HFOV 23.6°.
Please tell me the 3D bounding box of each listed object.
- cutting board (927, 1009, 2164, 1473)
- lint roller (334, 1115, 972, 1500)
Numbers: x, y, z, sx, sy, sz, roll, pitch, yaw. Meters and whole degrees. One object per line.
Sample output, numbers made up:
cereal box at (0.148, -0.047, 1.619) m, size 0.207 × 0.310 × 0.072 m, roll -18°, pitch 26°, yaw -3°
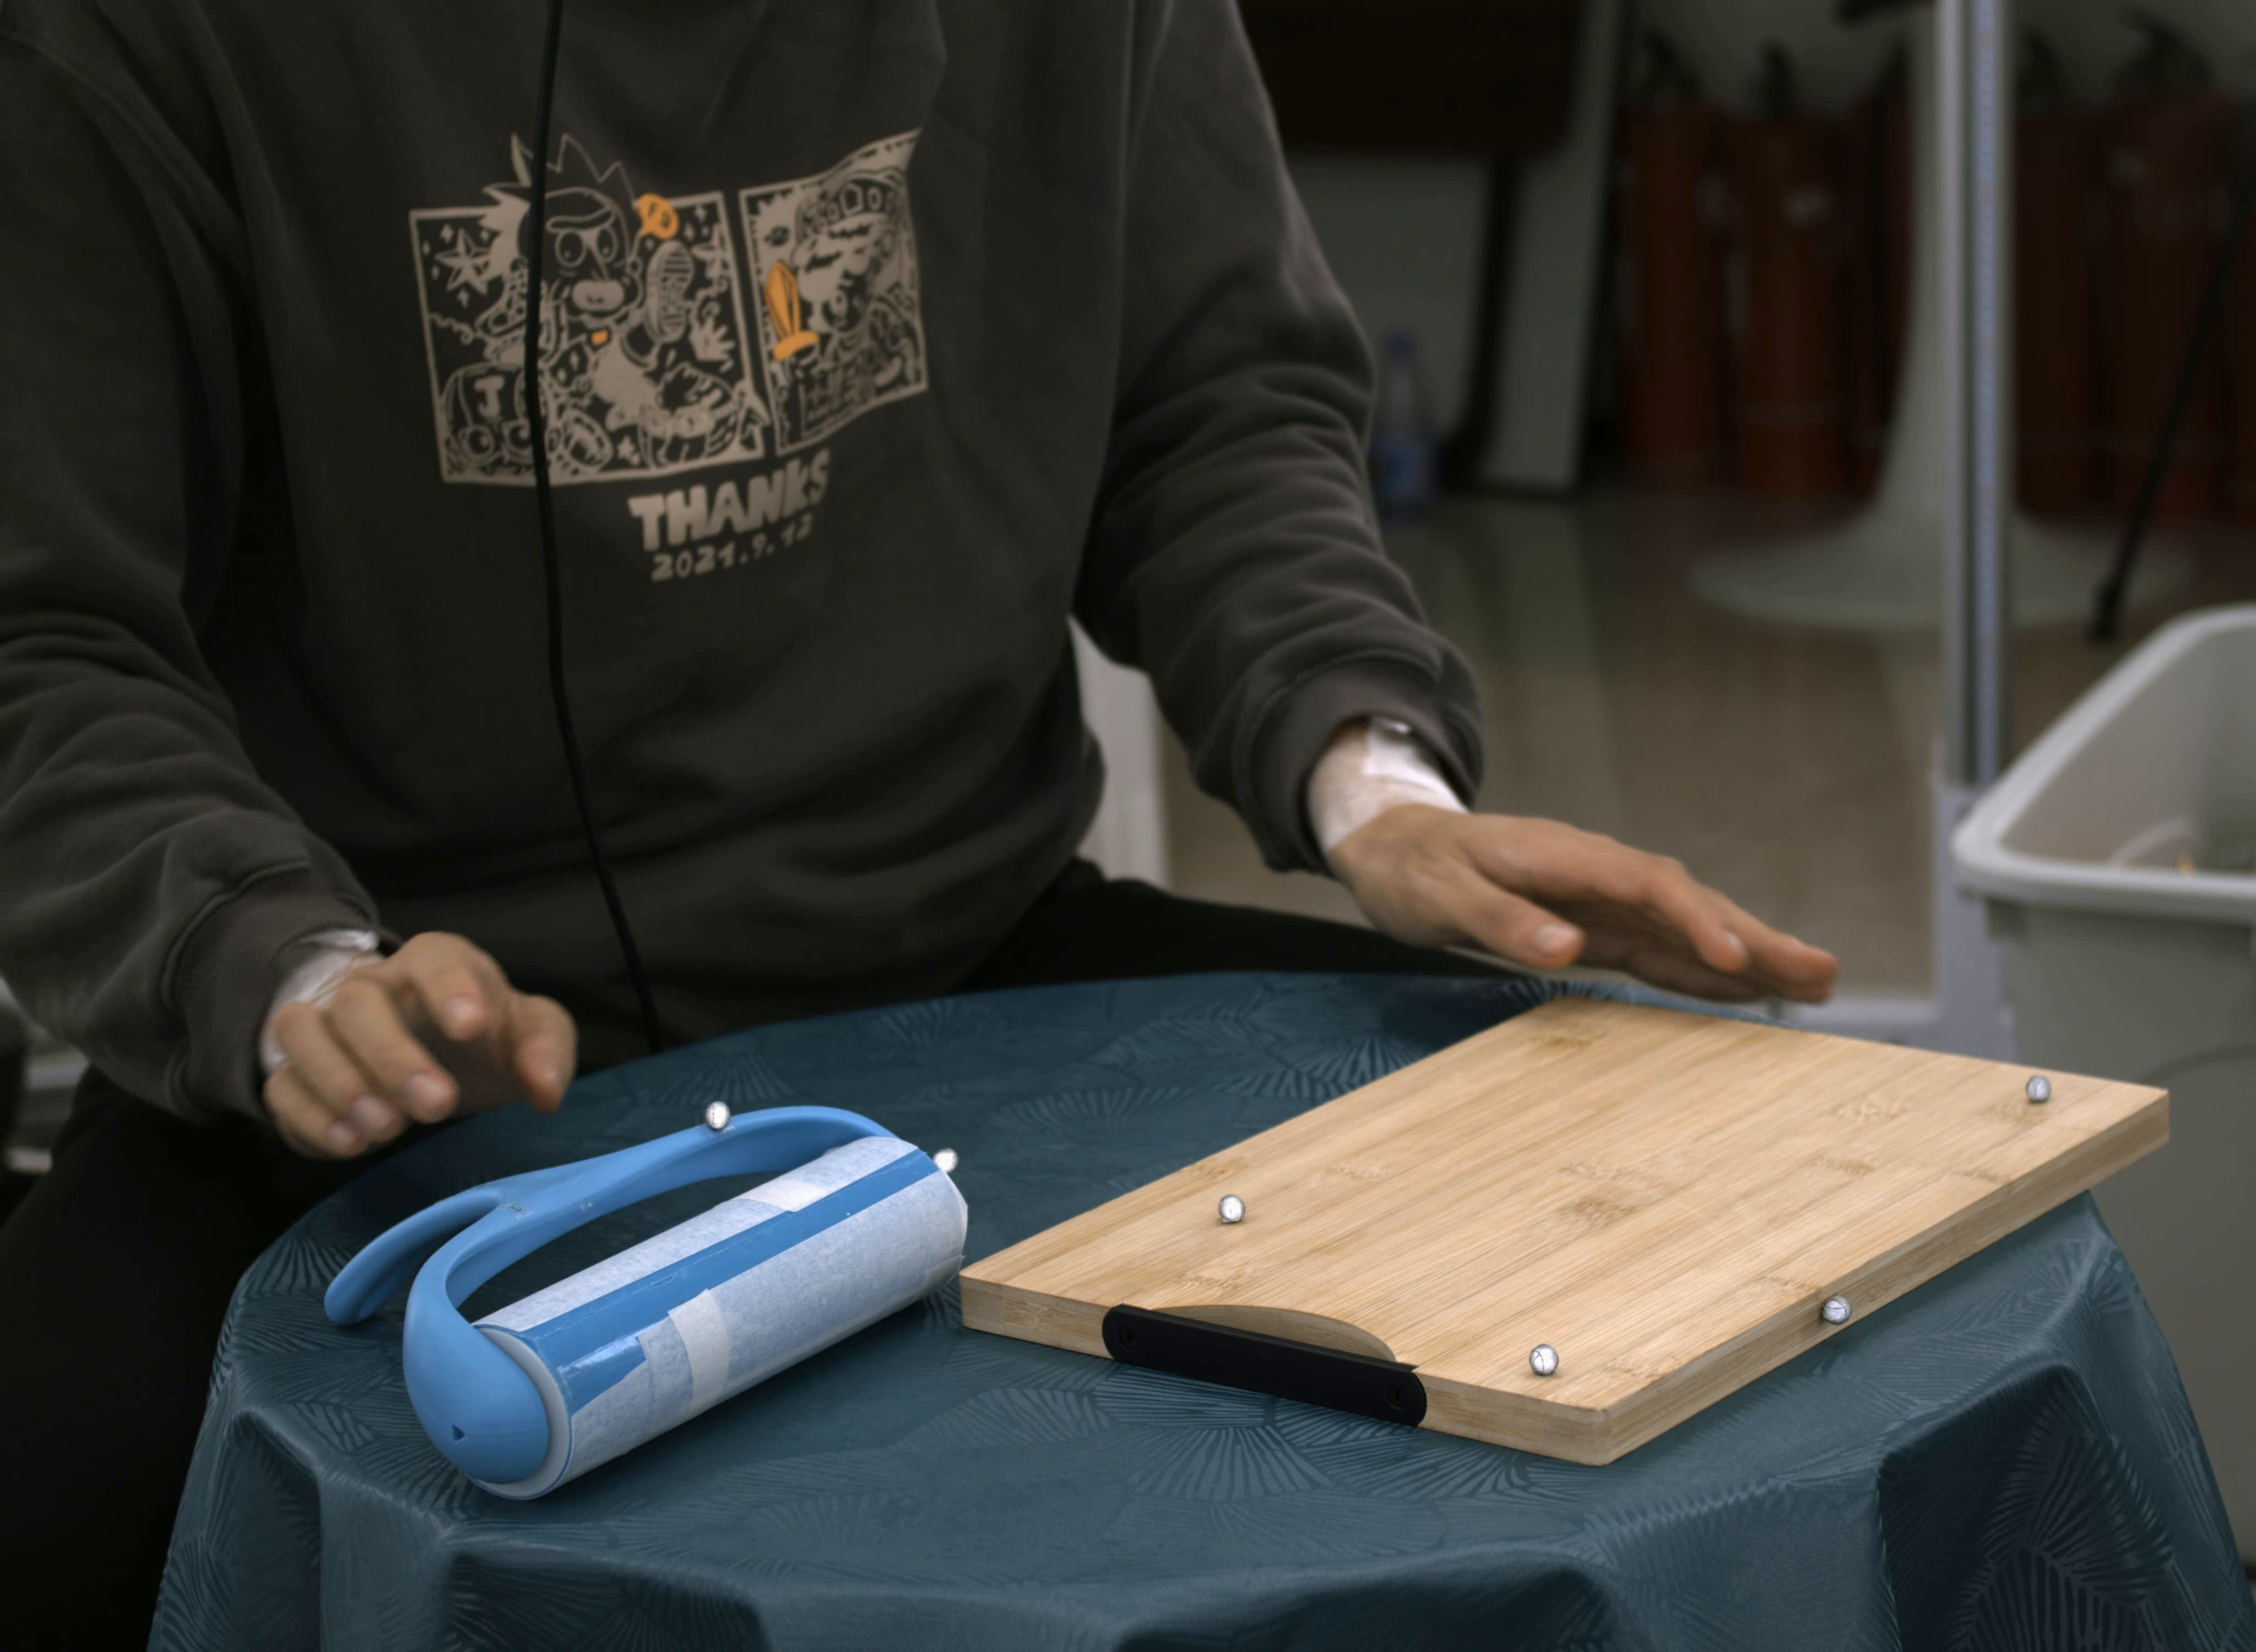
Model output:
cutting board at (0.139, 0.123, 1.694) m, size 0.252 × 0.024 × 0.342 m, roll 6°, pitch 17°, yaw 38°
lint roller at (-0.171, 0.138, 1.633) m, size 0.181 × 0.068 × 0.225 m, roll 4°, pitch 16°, yaw 31°
